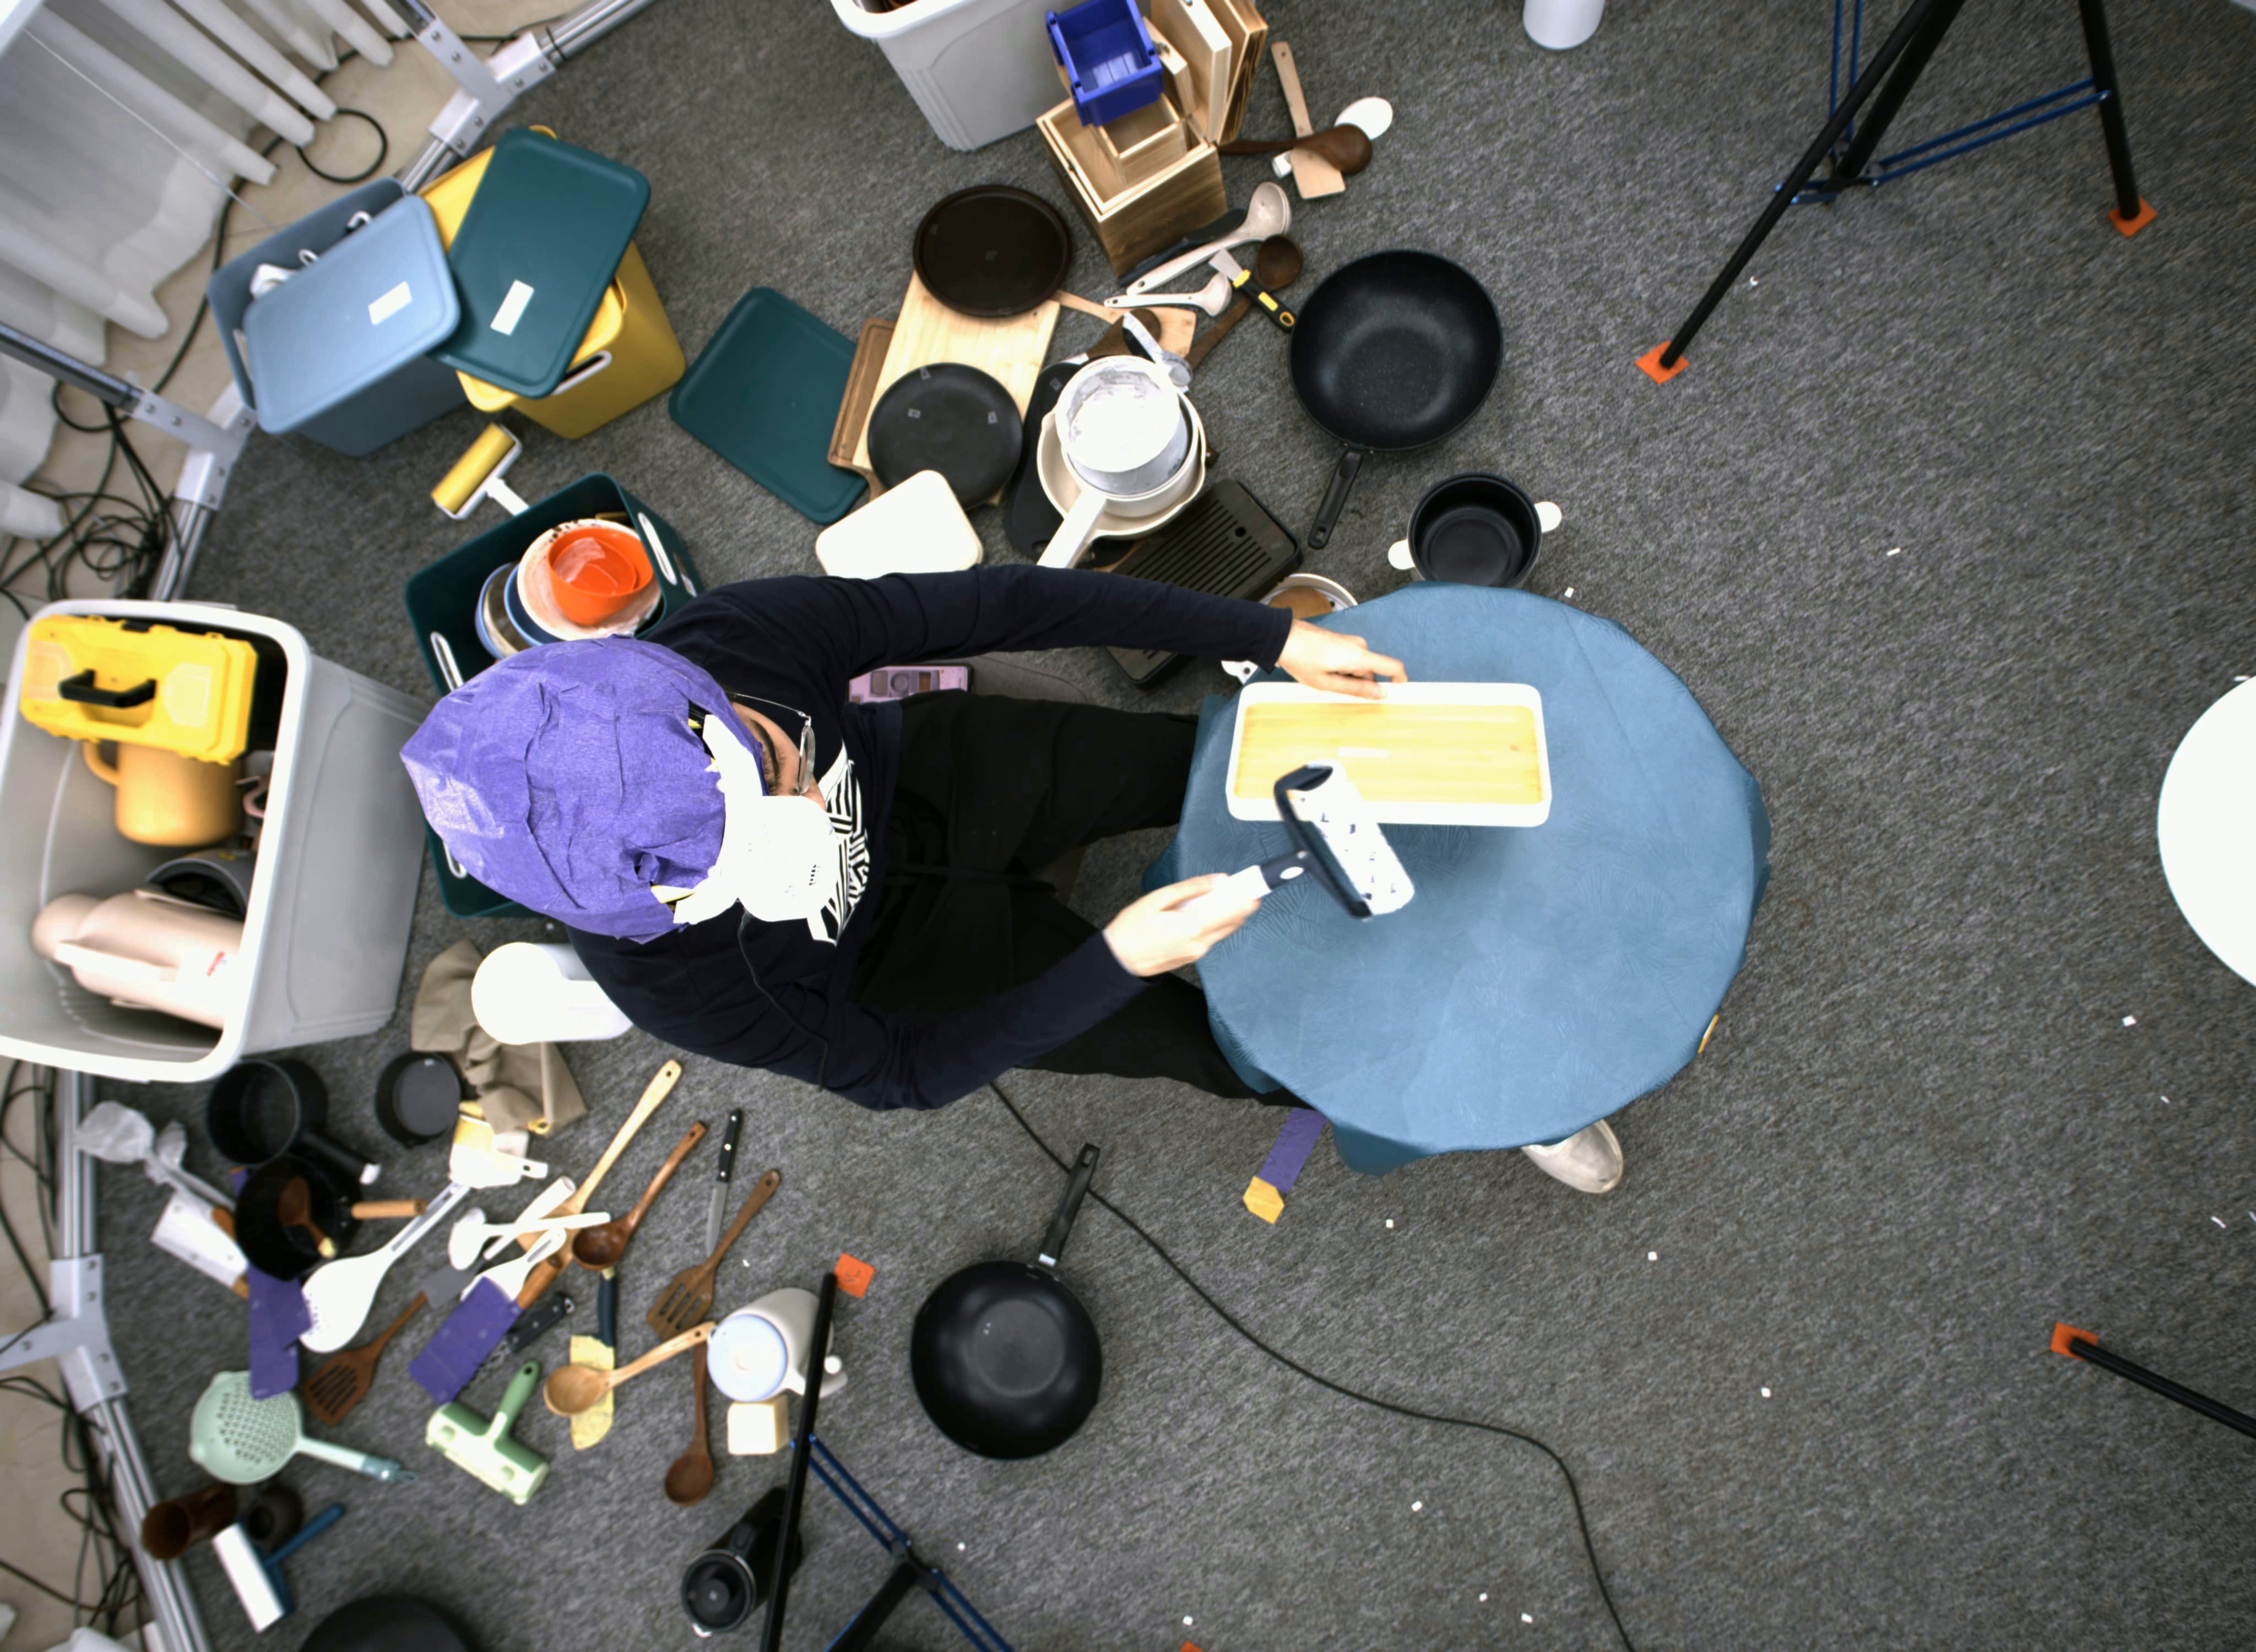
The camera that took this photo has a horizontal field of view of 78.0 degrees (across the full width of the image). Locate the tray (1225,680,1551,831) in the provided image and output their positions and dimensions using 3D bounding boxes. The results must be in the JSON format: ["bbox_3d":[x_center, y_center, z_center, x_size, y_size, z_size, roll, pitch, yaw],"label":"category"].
[{"bbox_3d":[0.251,-0.073,1.335,0.301,0.028,0.186,1,46,11],"label":"tray"}]

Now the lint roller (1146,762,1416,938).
[{"bbox_3d":[0.126,0.056,1.297,0.250,0.049,0.179,-27,124,19],"label":"lint roller"}]
